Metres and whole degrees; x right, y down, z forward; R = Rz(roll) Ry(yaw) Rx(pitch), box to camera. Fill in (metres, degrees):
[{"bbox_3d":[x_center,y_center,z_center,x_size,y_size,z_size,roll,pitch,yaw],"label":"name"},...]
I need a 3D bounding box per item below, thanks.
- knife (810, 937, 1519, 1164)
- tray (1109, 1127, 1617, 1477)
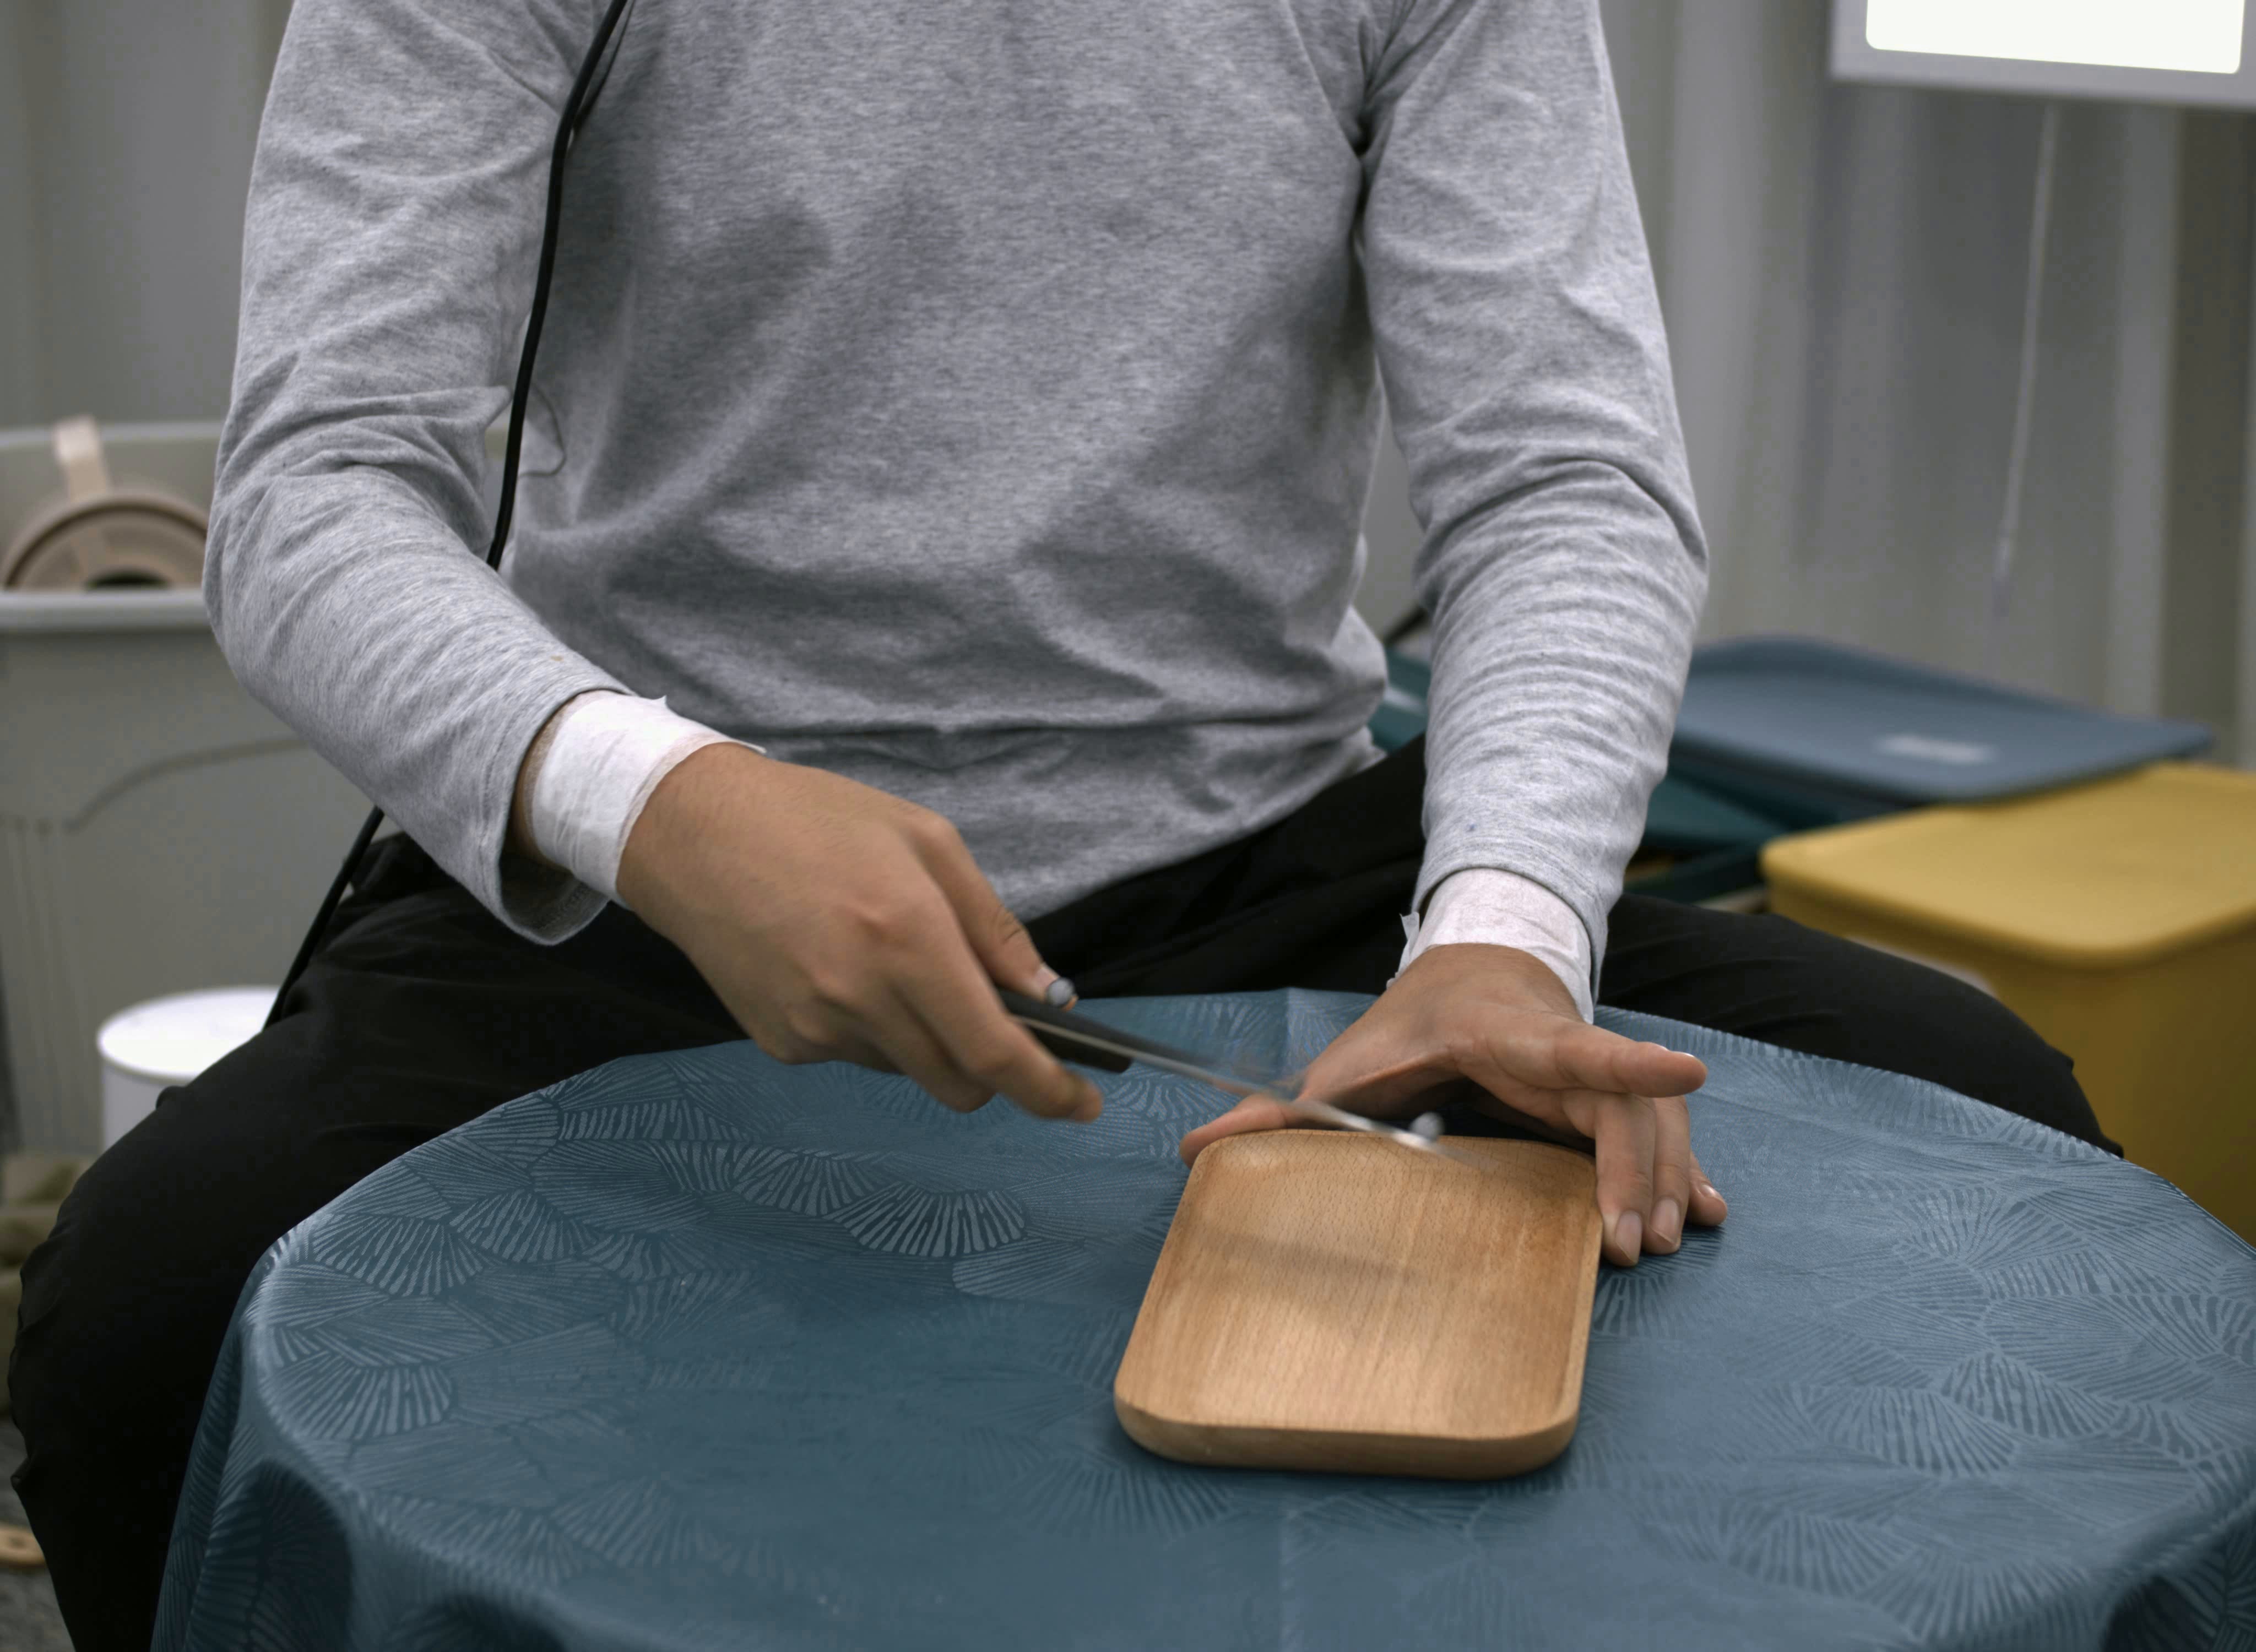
[{"bbox_3d":[0.007,0.068,1.563,0.235,0.016,0.025,15,-6,23],"label":"knife"},{"bbox_3d":[0.072,0.134,1.519,0.130,0.023,0.250,6,15,7],"label":"tray"}]
